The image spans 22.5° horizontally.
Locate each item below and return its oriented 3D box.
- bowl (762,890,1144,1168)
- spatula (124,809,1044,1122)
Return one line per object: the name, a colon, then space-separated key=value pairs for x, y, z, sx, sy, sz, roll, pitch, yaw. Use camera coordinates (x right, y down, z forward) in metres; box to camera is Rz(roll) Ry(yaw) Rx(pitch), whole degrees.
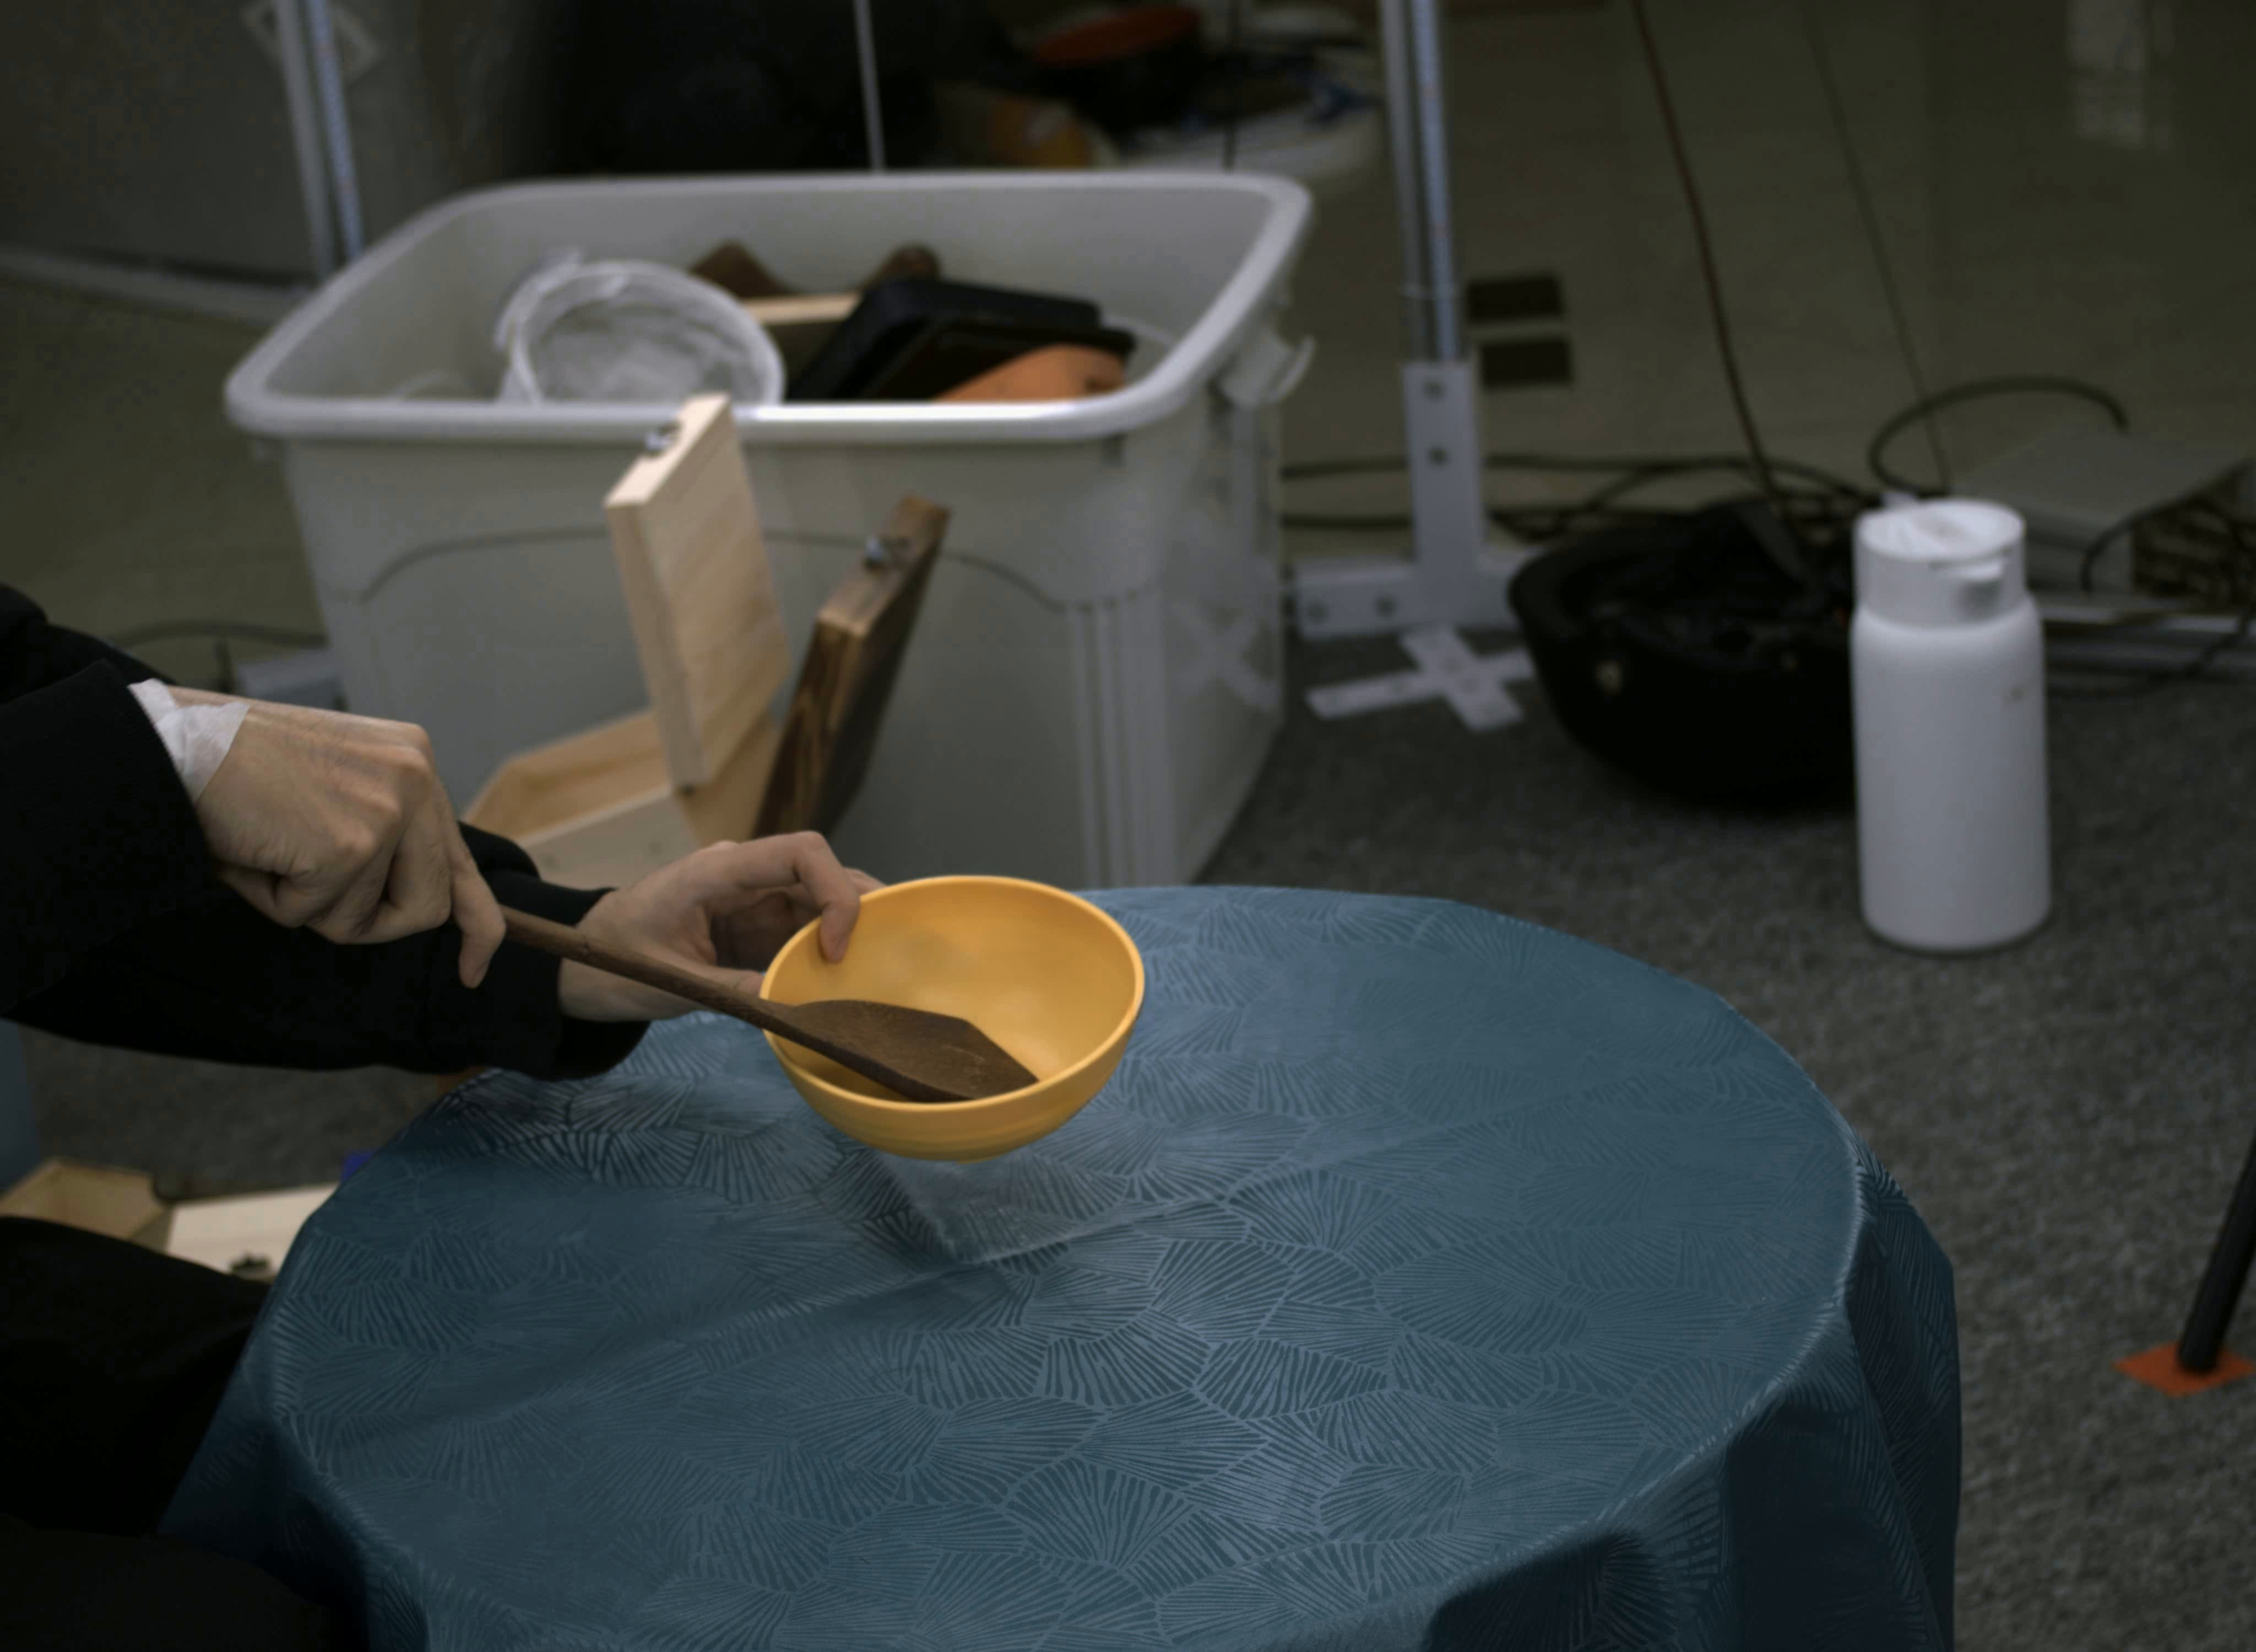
bowl: x=-0.063 y=0.086 z=2.133 sx=0.145 sy=0.061 sz=0.143 roll=-4 pitch=33 yaw=3
spatula: x=-0.188 y=0.048 z=2.036 sx=0.388 sy=0.016 sz=0.095 roll=19 pitch=12 yaw=-35
